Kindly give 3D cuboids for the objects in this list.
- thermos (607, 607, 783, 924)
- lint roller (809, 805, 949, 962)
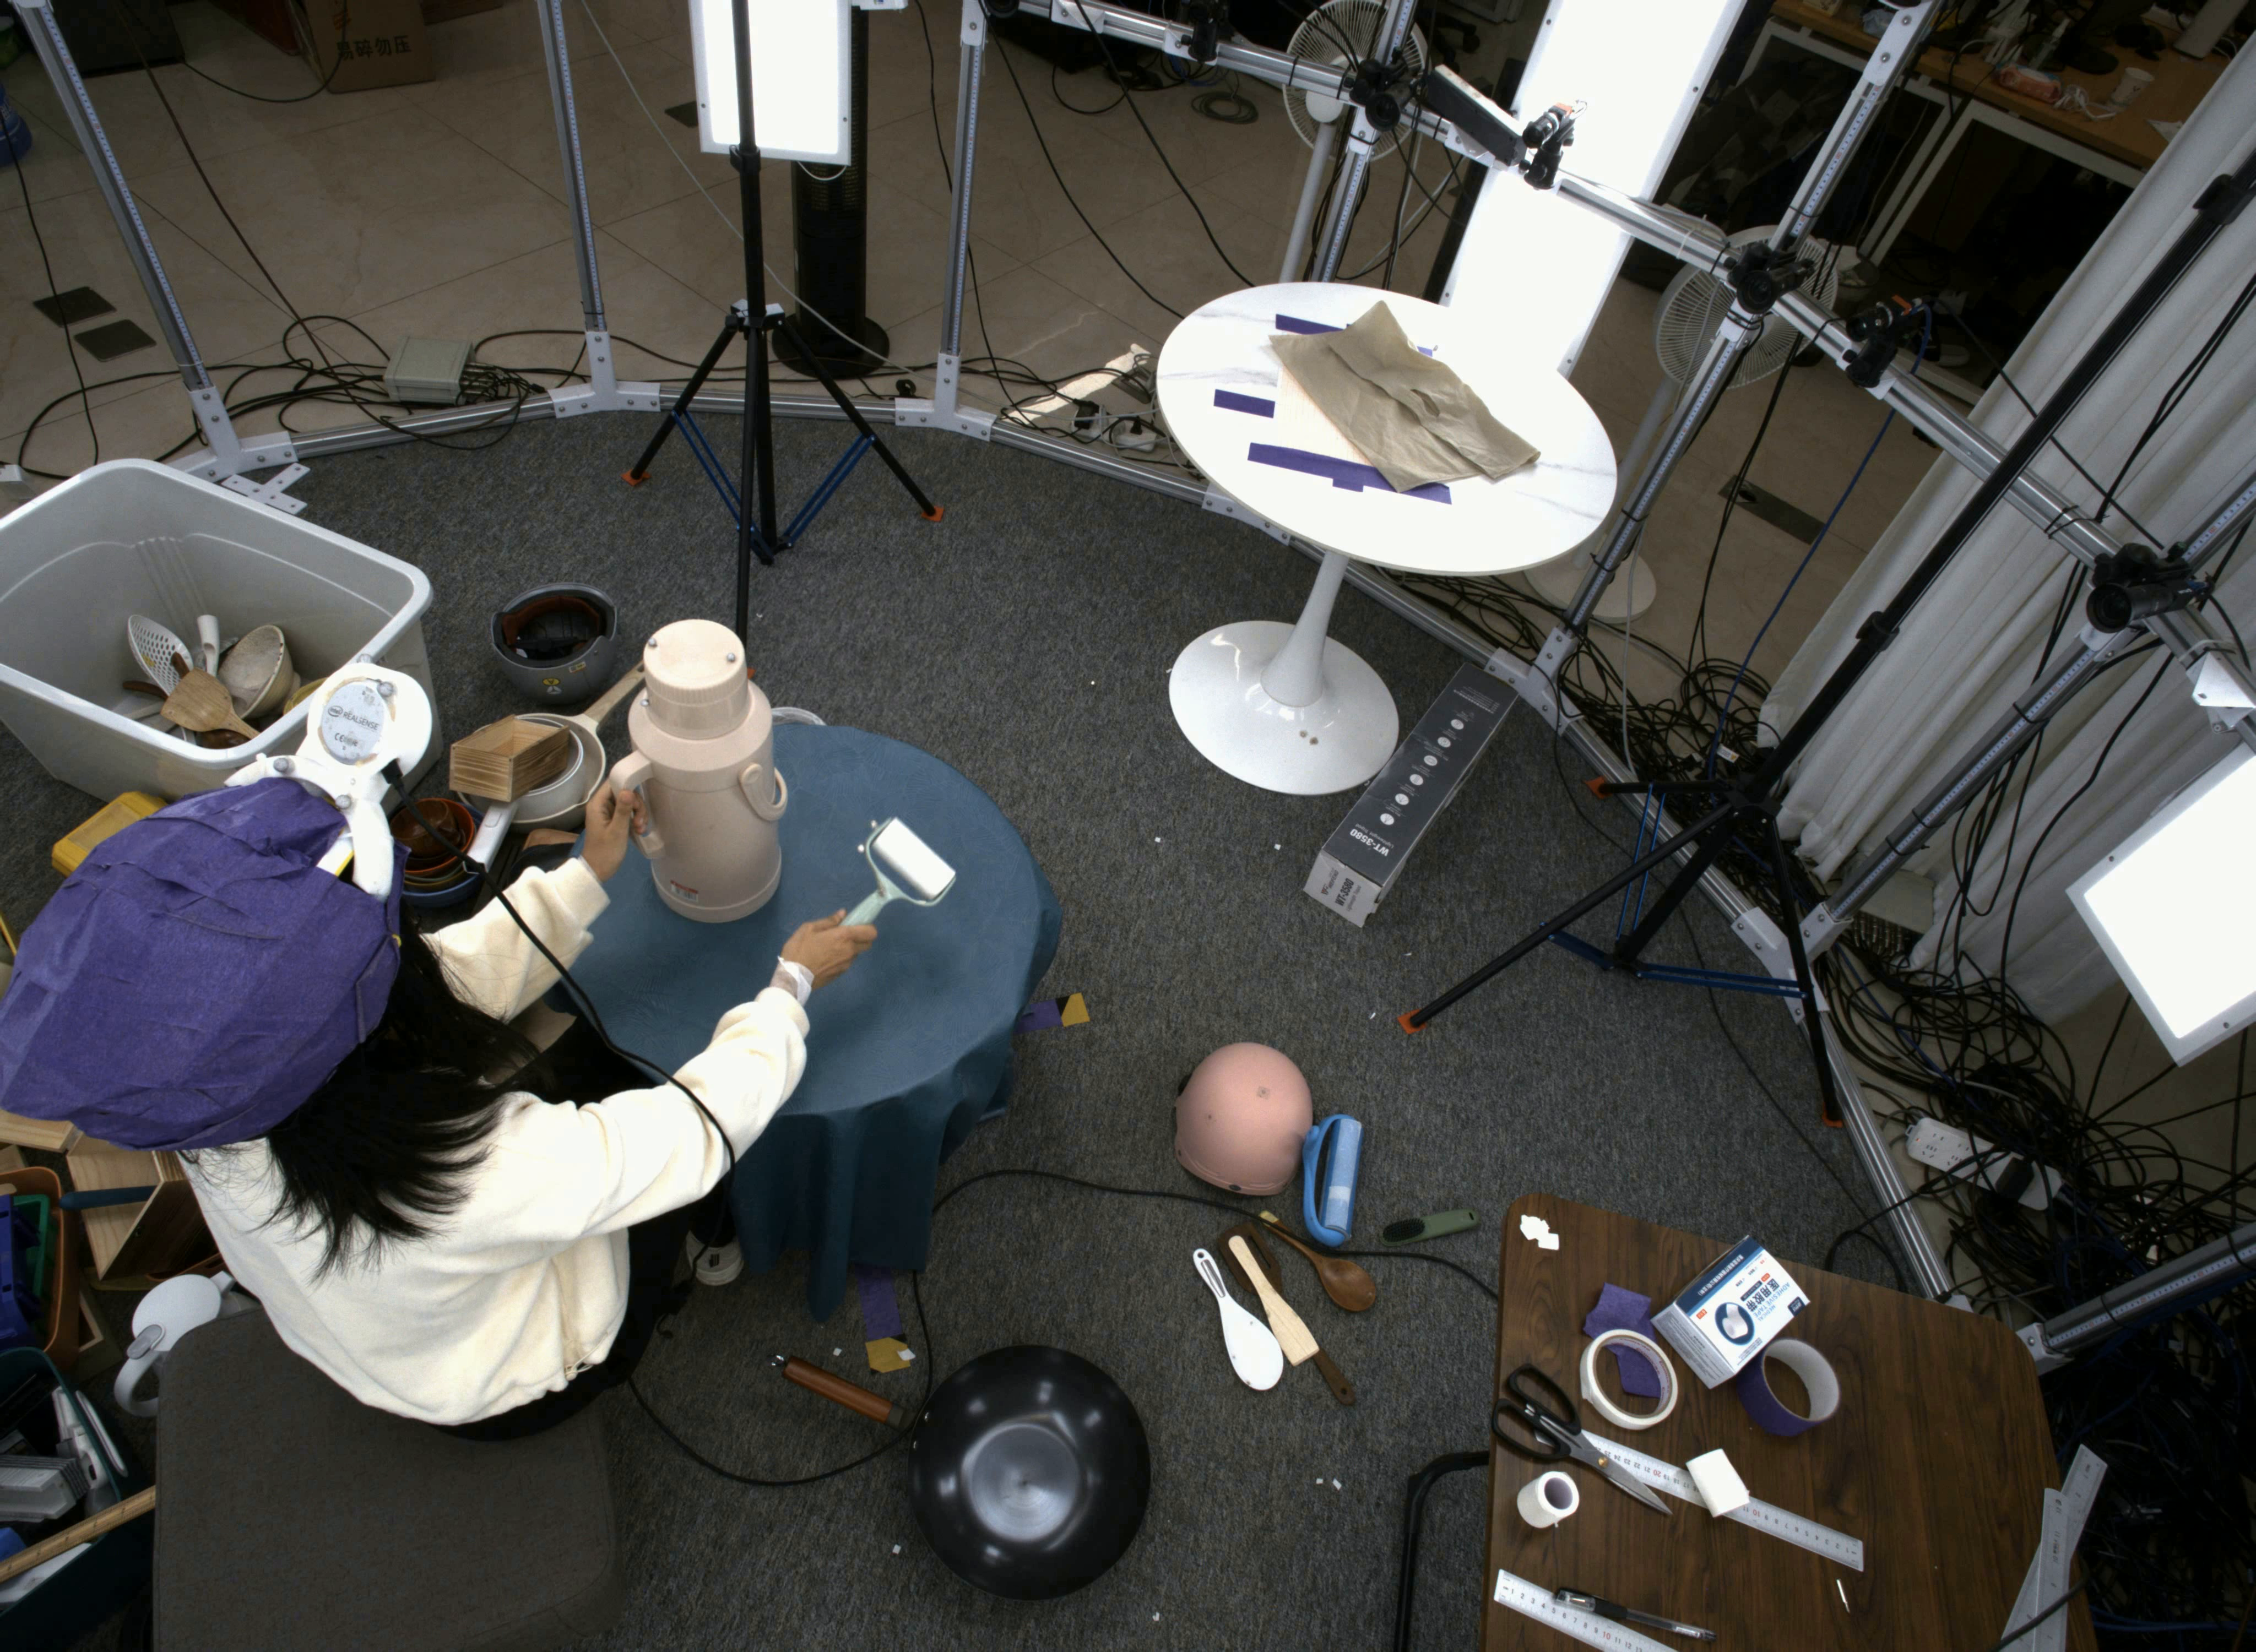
[{"bbox_3d":[-0.502,-0.059,1.486,0.171,0.415,0.207,37,54,17],"label":"thermos"},{"bbox_3d":[-0.308,0.077,1.535,0.119,0.047,0.197,46,62,-15],"label":"lint roller"}]
